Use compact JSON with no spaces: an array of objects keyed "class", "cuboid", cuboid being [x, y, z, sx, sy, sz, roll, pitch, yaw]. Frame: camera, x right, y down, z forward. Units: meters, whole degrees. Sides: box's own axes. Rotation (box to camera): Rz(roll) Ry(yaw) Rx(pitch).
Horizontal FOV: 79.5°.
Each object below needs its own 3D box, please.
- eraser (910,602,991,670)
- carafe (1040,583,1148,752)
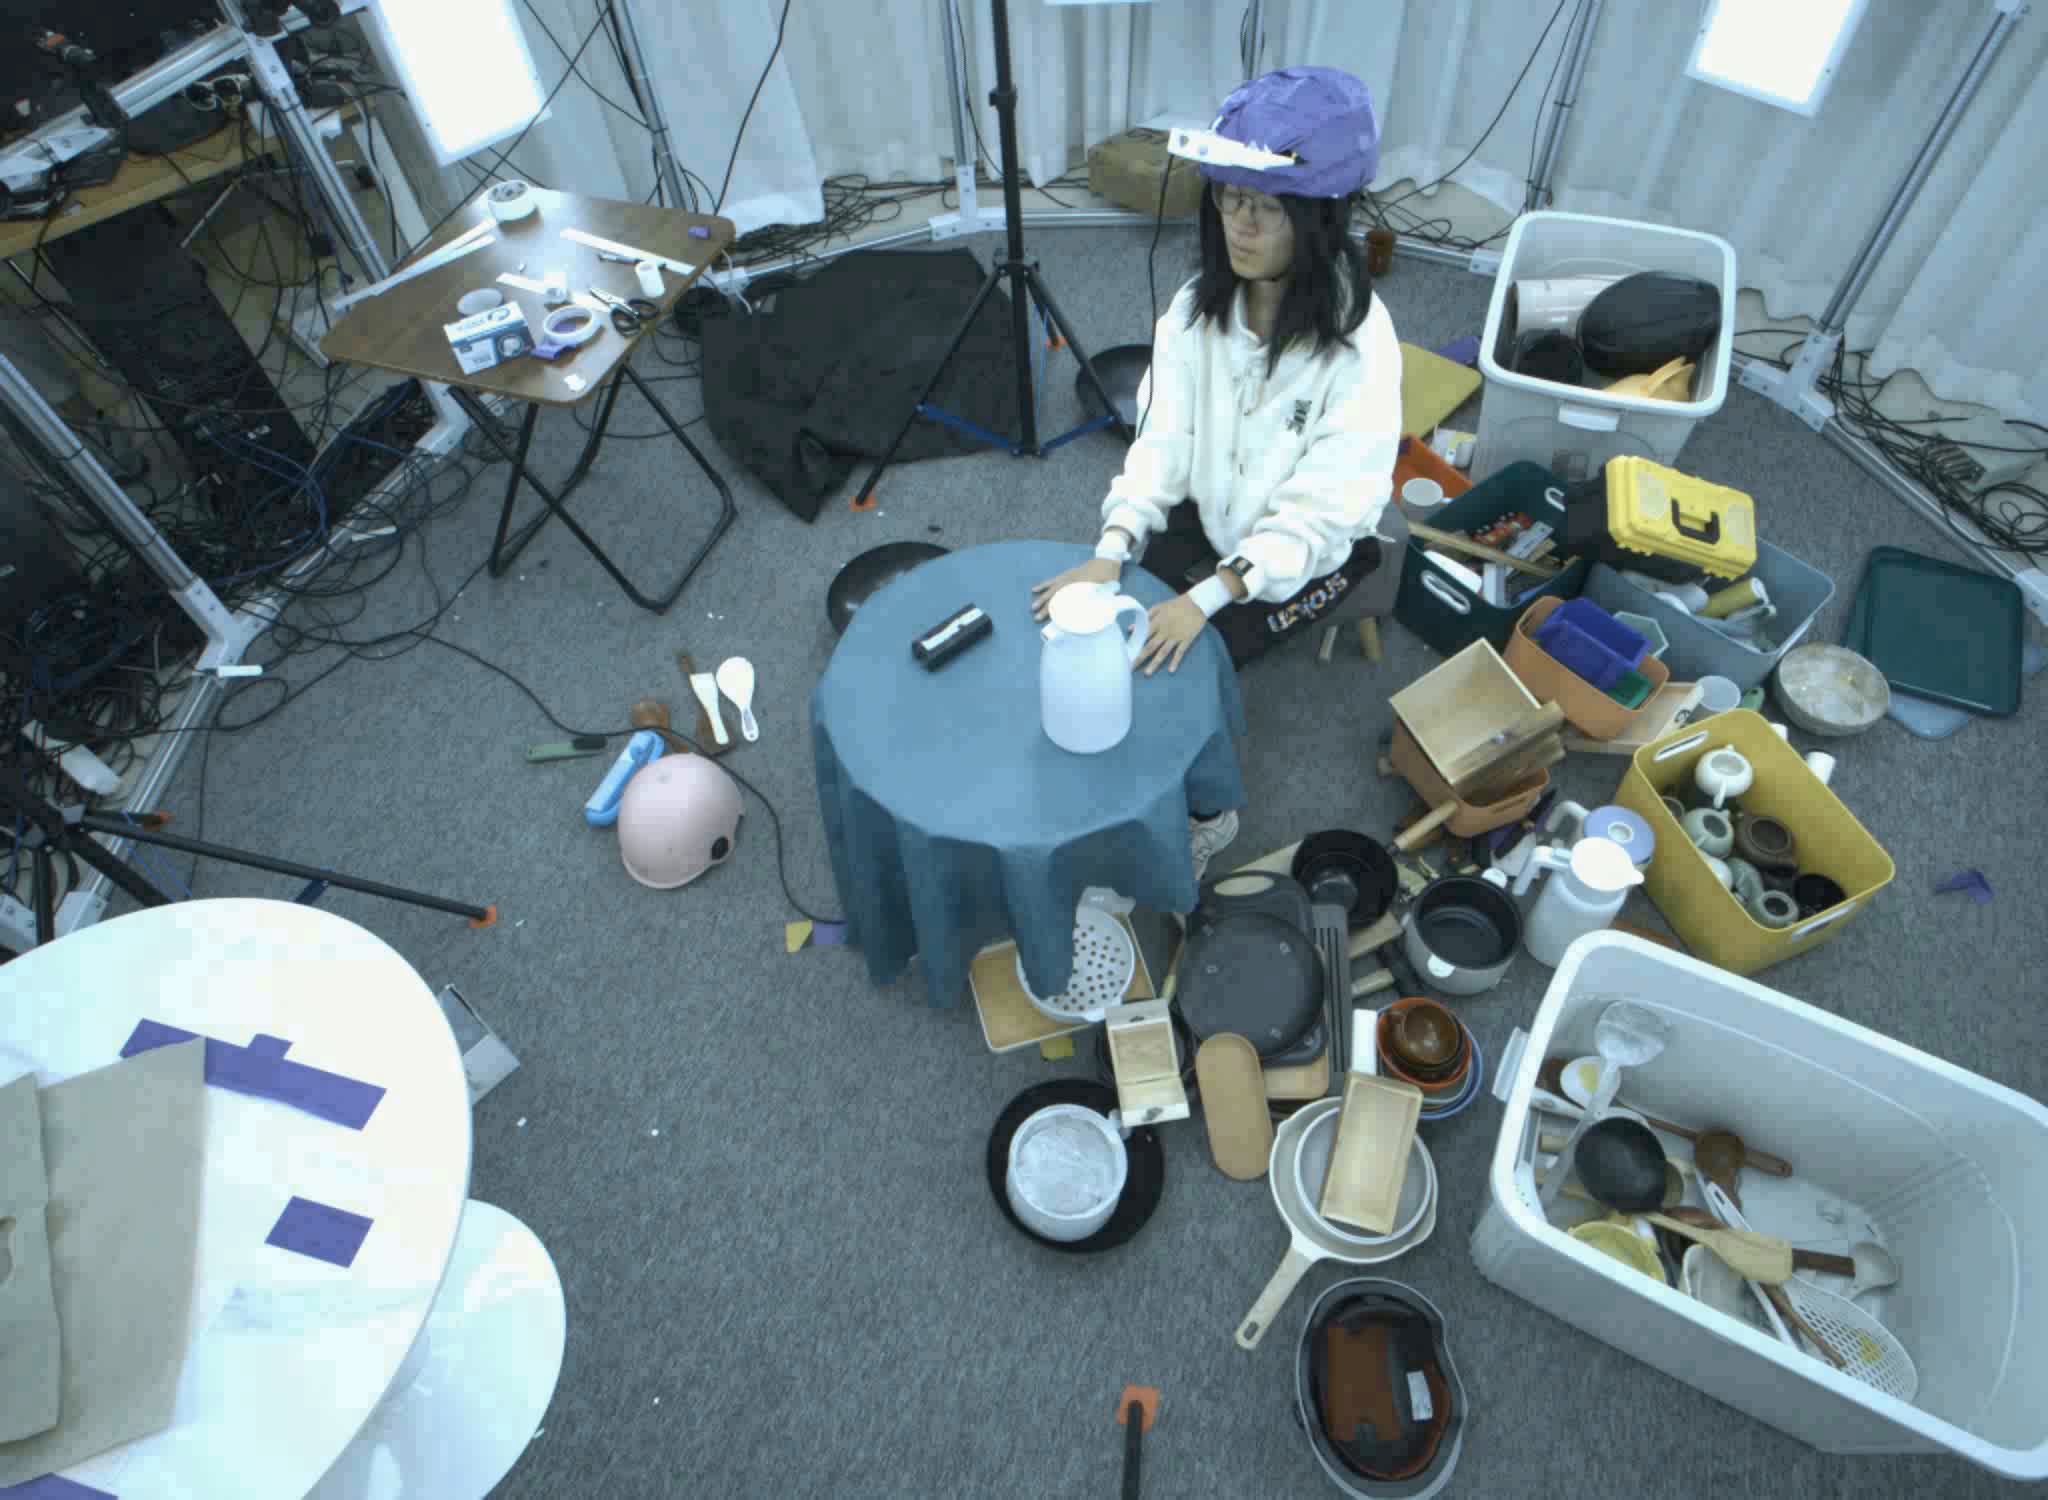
[{"class":"eraser","cuboid":[-0.114,-0.177,1.899,0.126,0.031,0.052,-38,64,-22]},{"class":"carafe","cuboid":[0.100,-0.130,1.723,0.169,0.251,0.130,-31,58,-18]}]
